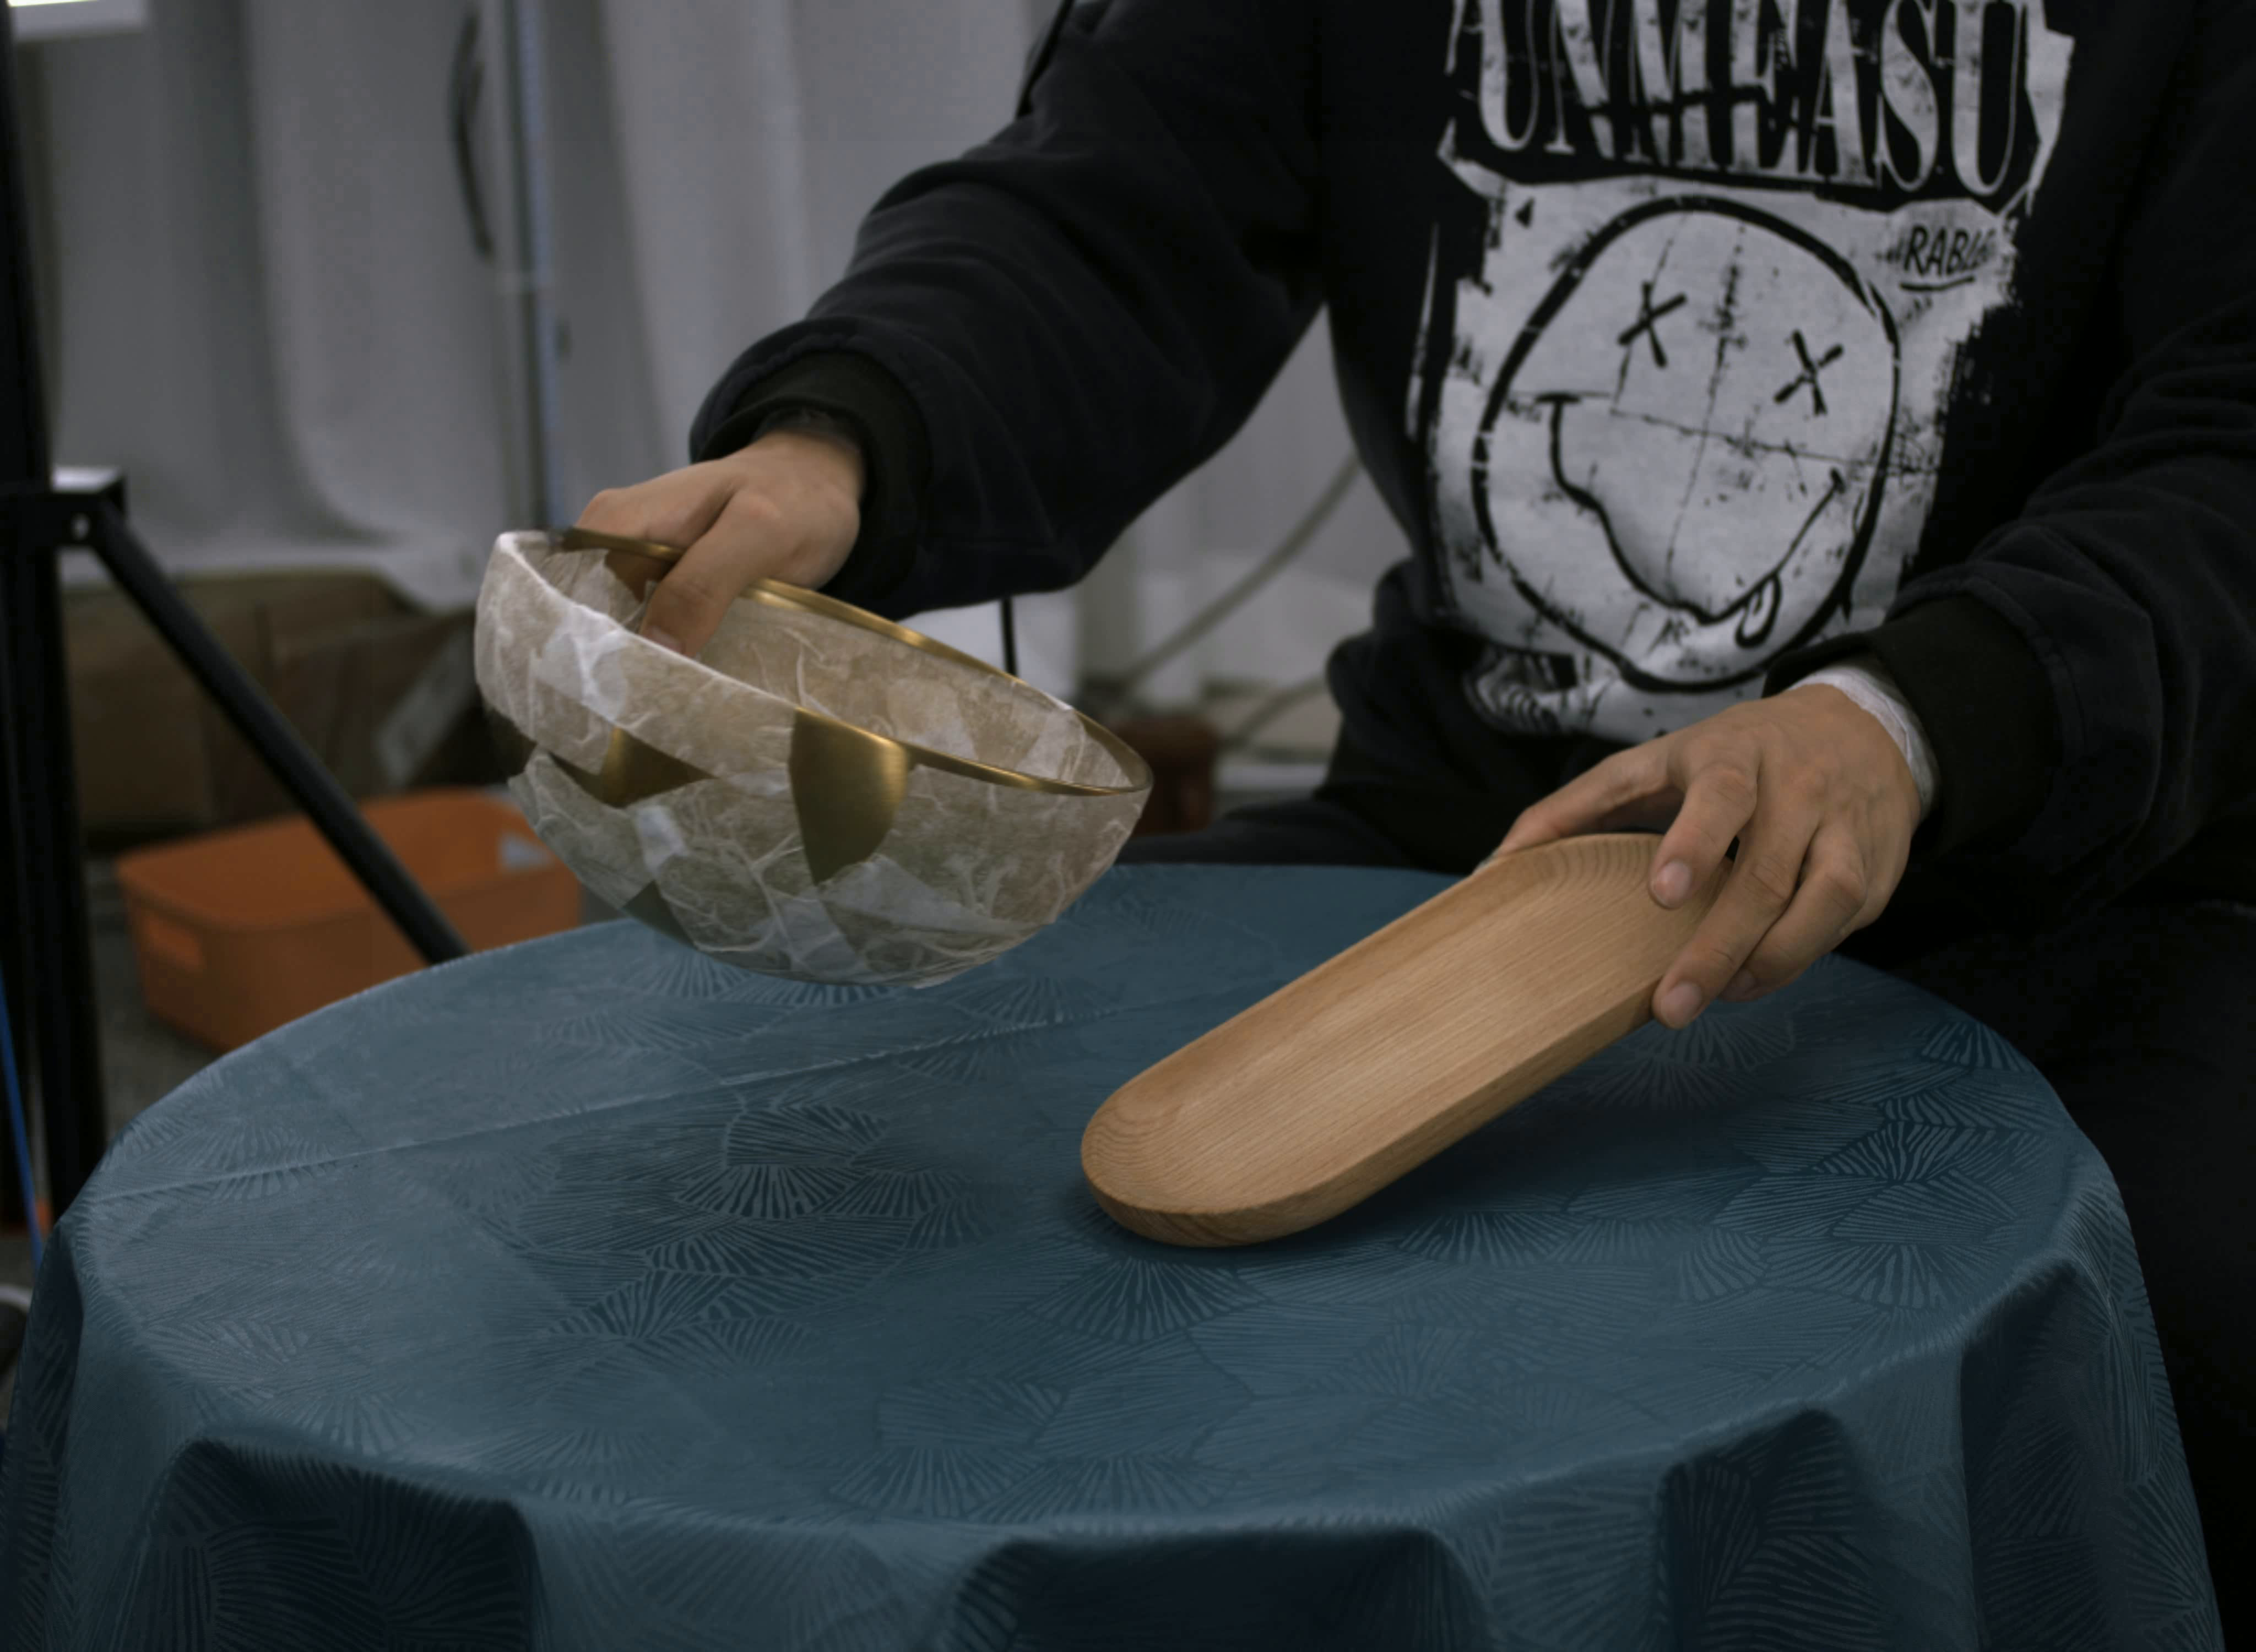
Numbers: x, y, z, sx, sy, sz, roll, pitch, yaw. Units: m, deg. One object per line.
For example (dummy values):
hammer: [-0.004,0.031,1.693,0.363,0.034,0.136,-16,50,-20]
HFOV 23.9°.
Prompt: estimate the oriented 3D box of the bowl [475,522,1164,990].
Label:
bowl: [-0.098,-0.008,1.542,0.213,0.095,0.215,19,9,-5]

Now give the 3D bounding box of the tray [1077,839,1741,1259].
tray: [0.085,0.064,1.566,0.228,0.020,0.104,-32,28,-26]
